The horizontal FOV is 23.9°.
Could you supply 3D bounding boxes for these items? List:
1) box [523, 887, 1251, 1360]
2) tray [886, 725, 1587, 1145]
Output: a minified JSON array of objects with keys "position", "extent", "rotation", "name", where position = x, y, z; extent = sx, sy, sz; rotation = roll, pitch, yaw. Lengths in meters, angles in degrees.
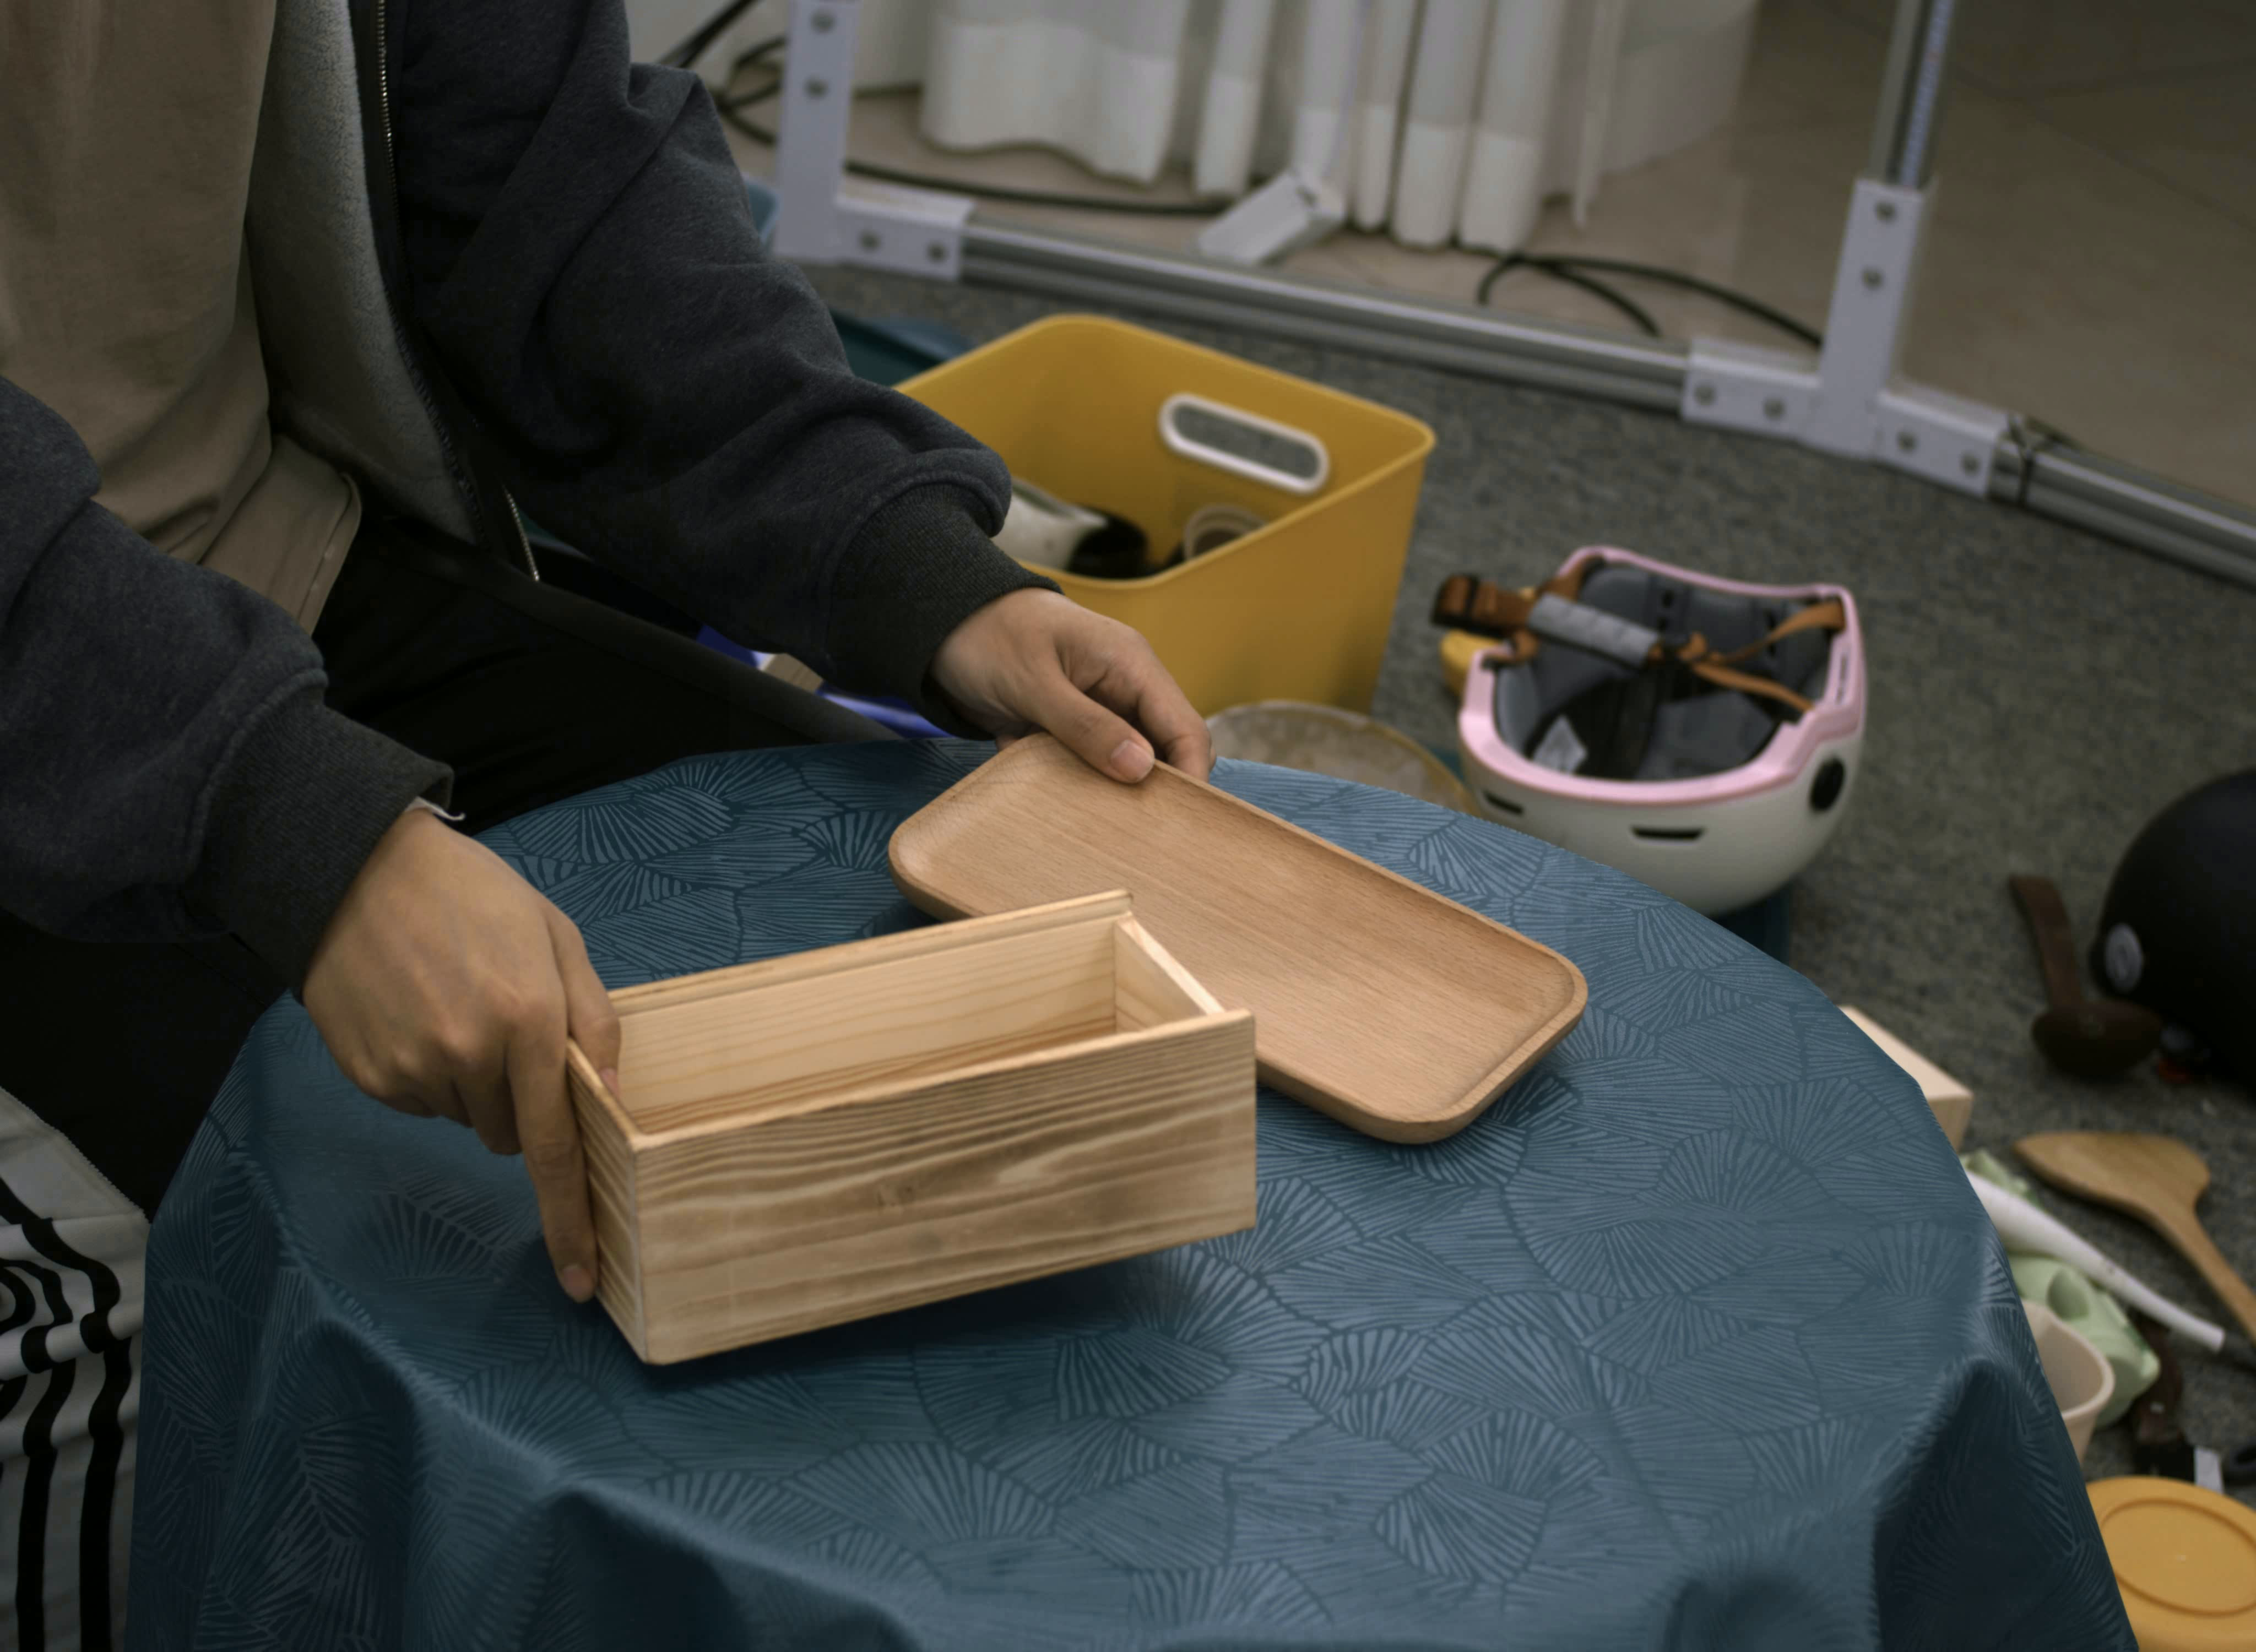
[{"position":[-0.077,0.093,1.716],"extent":[0.210,0.080,0.108],"rotation":[-11,27,-20],"name":"box"},{"position":[0.038,0.038,1.928],"extent":[0.252,0.023,0.130],"rotation":[26,37,27],"name":"tray"}]
